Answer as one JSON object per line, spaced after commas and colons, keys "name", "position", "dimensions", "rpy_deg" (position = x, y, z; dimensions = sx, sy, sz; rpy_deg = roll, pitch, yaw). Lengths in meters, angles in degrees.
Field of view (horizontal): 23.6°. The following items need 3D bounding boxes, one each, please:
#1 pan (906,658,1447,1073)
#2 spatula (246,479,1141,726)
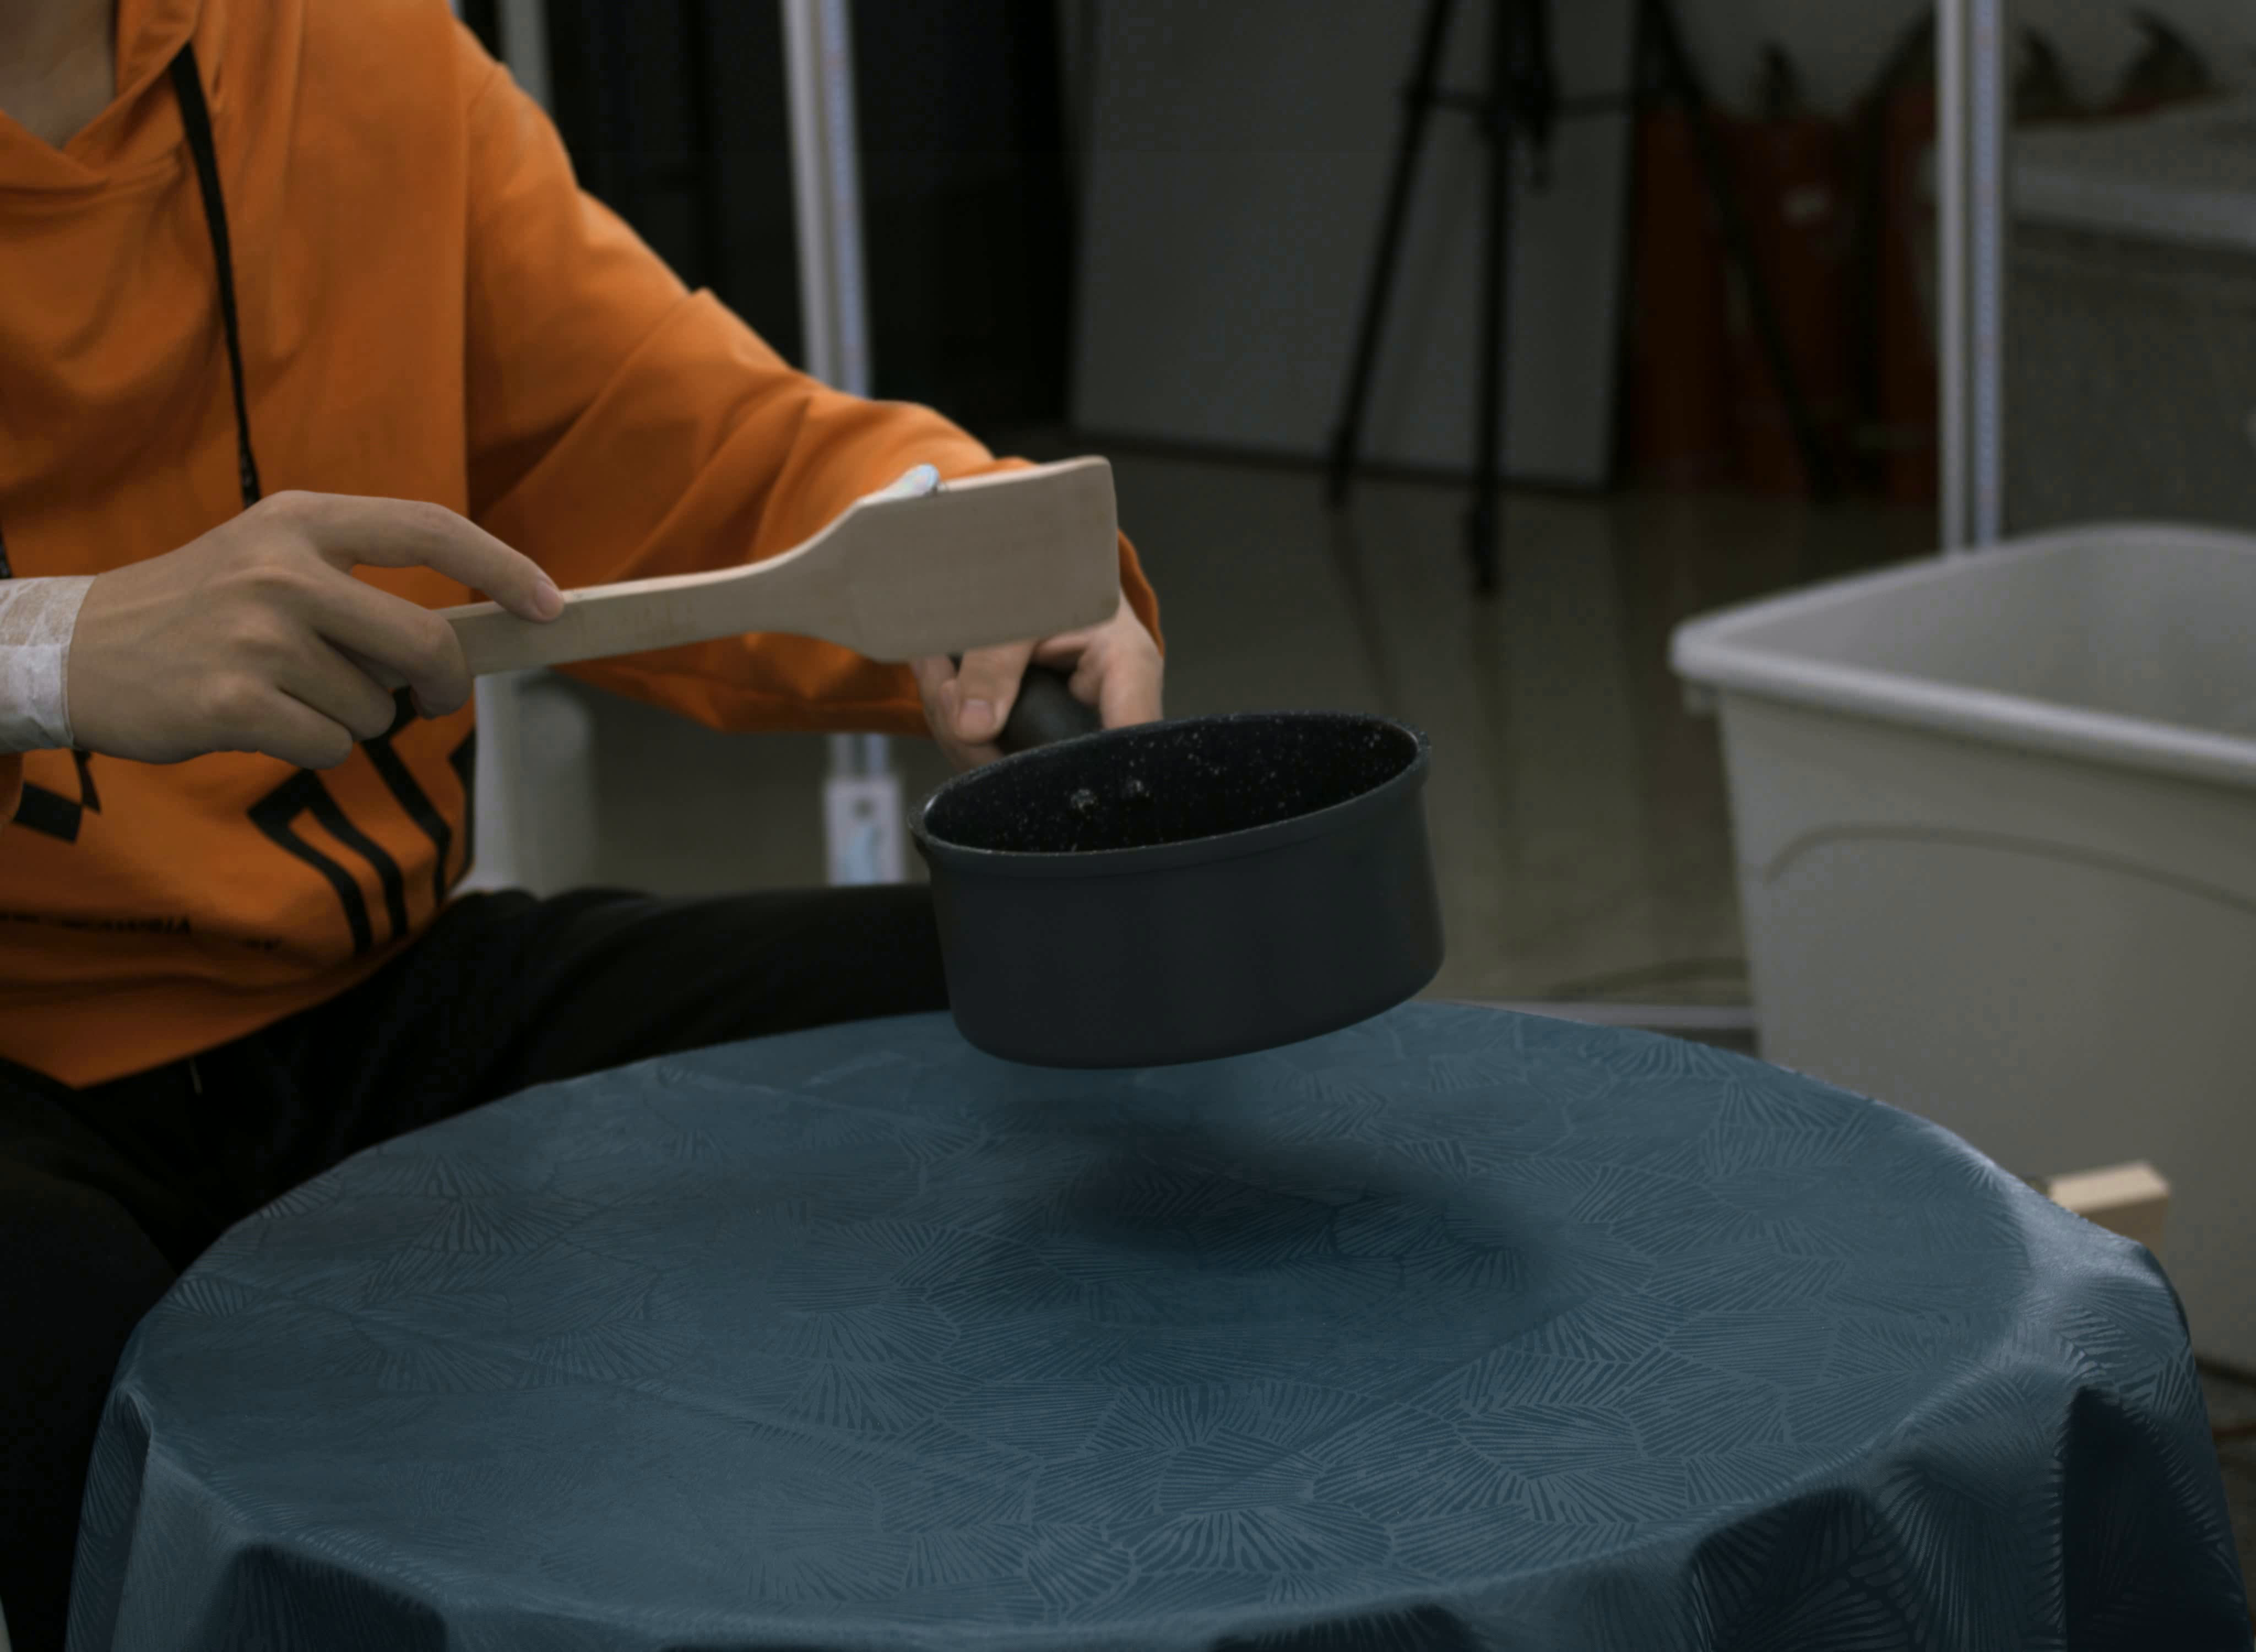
{"name": "pan", "position": [-0.002, 0.001, 1.812], "dimensions": [0.169, 0.087, 0.331], "rpy_deg": [-11, 15, -11]}
{"name": "spatula", "position": [-0.138, -0.064, 1.736], "dimensions": [0.288, 0.072, 0.011], "rpy_deg": [-8, 41, -5]}
